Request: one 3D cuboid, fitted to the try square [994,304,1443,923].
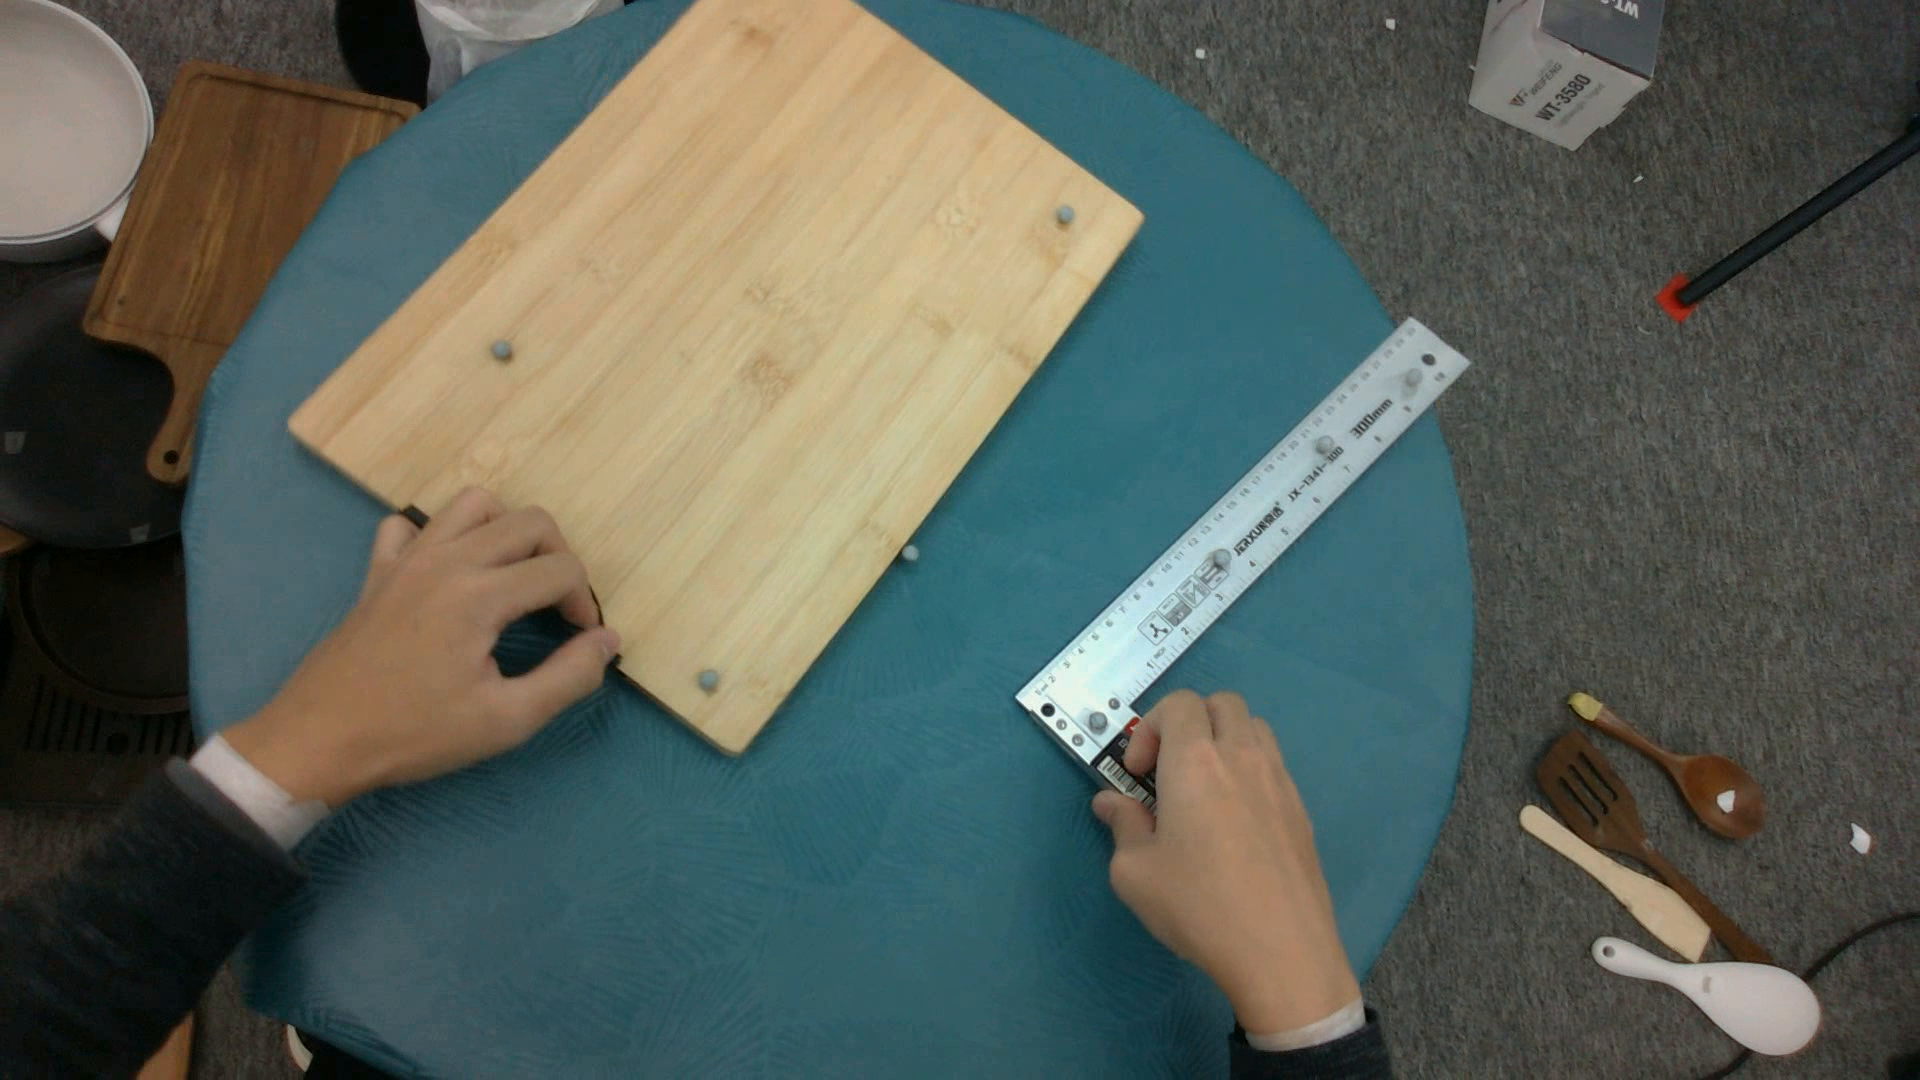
[{"bbox_3d":[0.175,0.020,0.670,0.152,0.016,0.314,43,68,13],"label":"try square"}]

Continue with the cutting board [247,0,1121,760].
[{"bbox_3d":[-0.109,-0.107,0.648,0.250,0.023,0.350,35,69,-1],"label":"cutting board"}]
